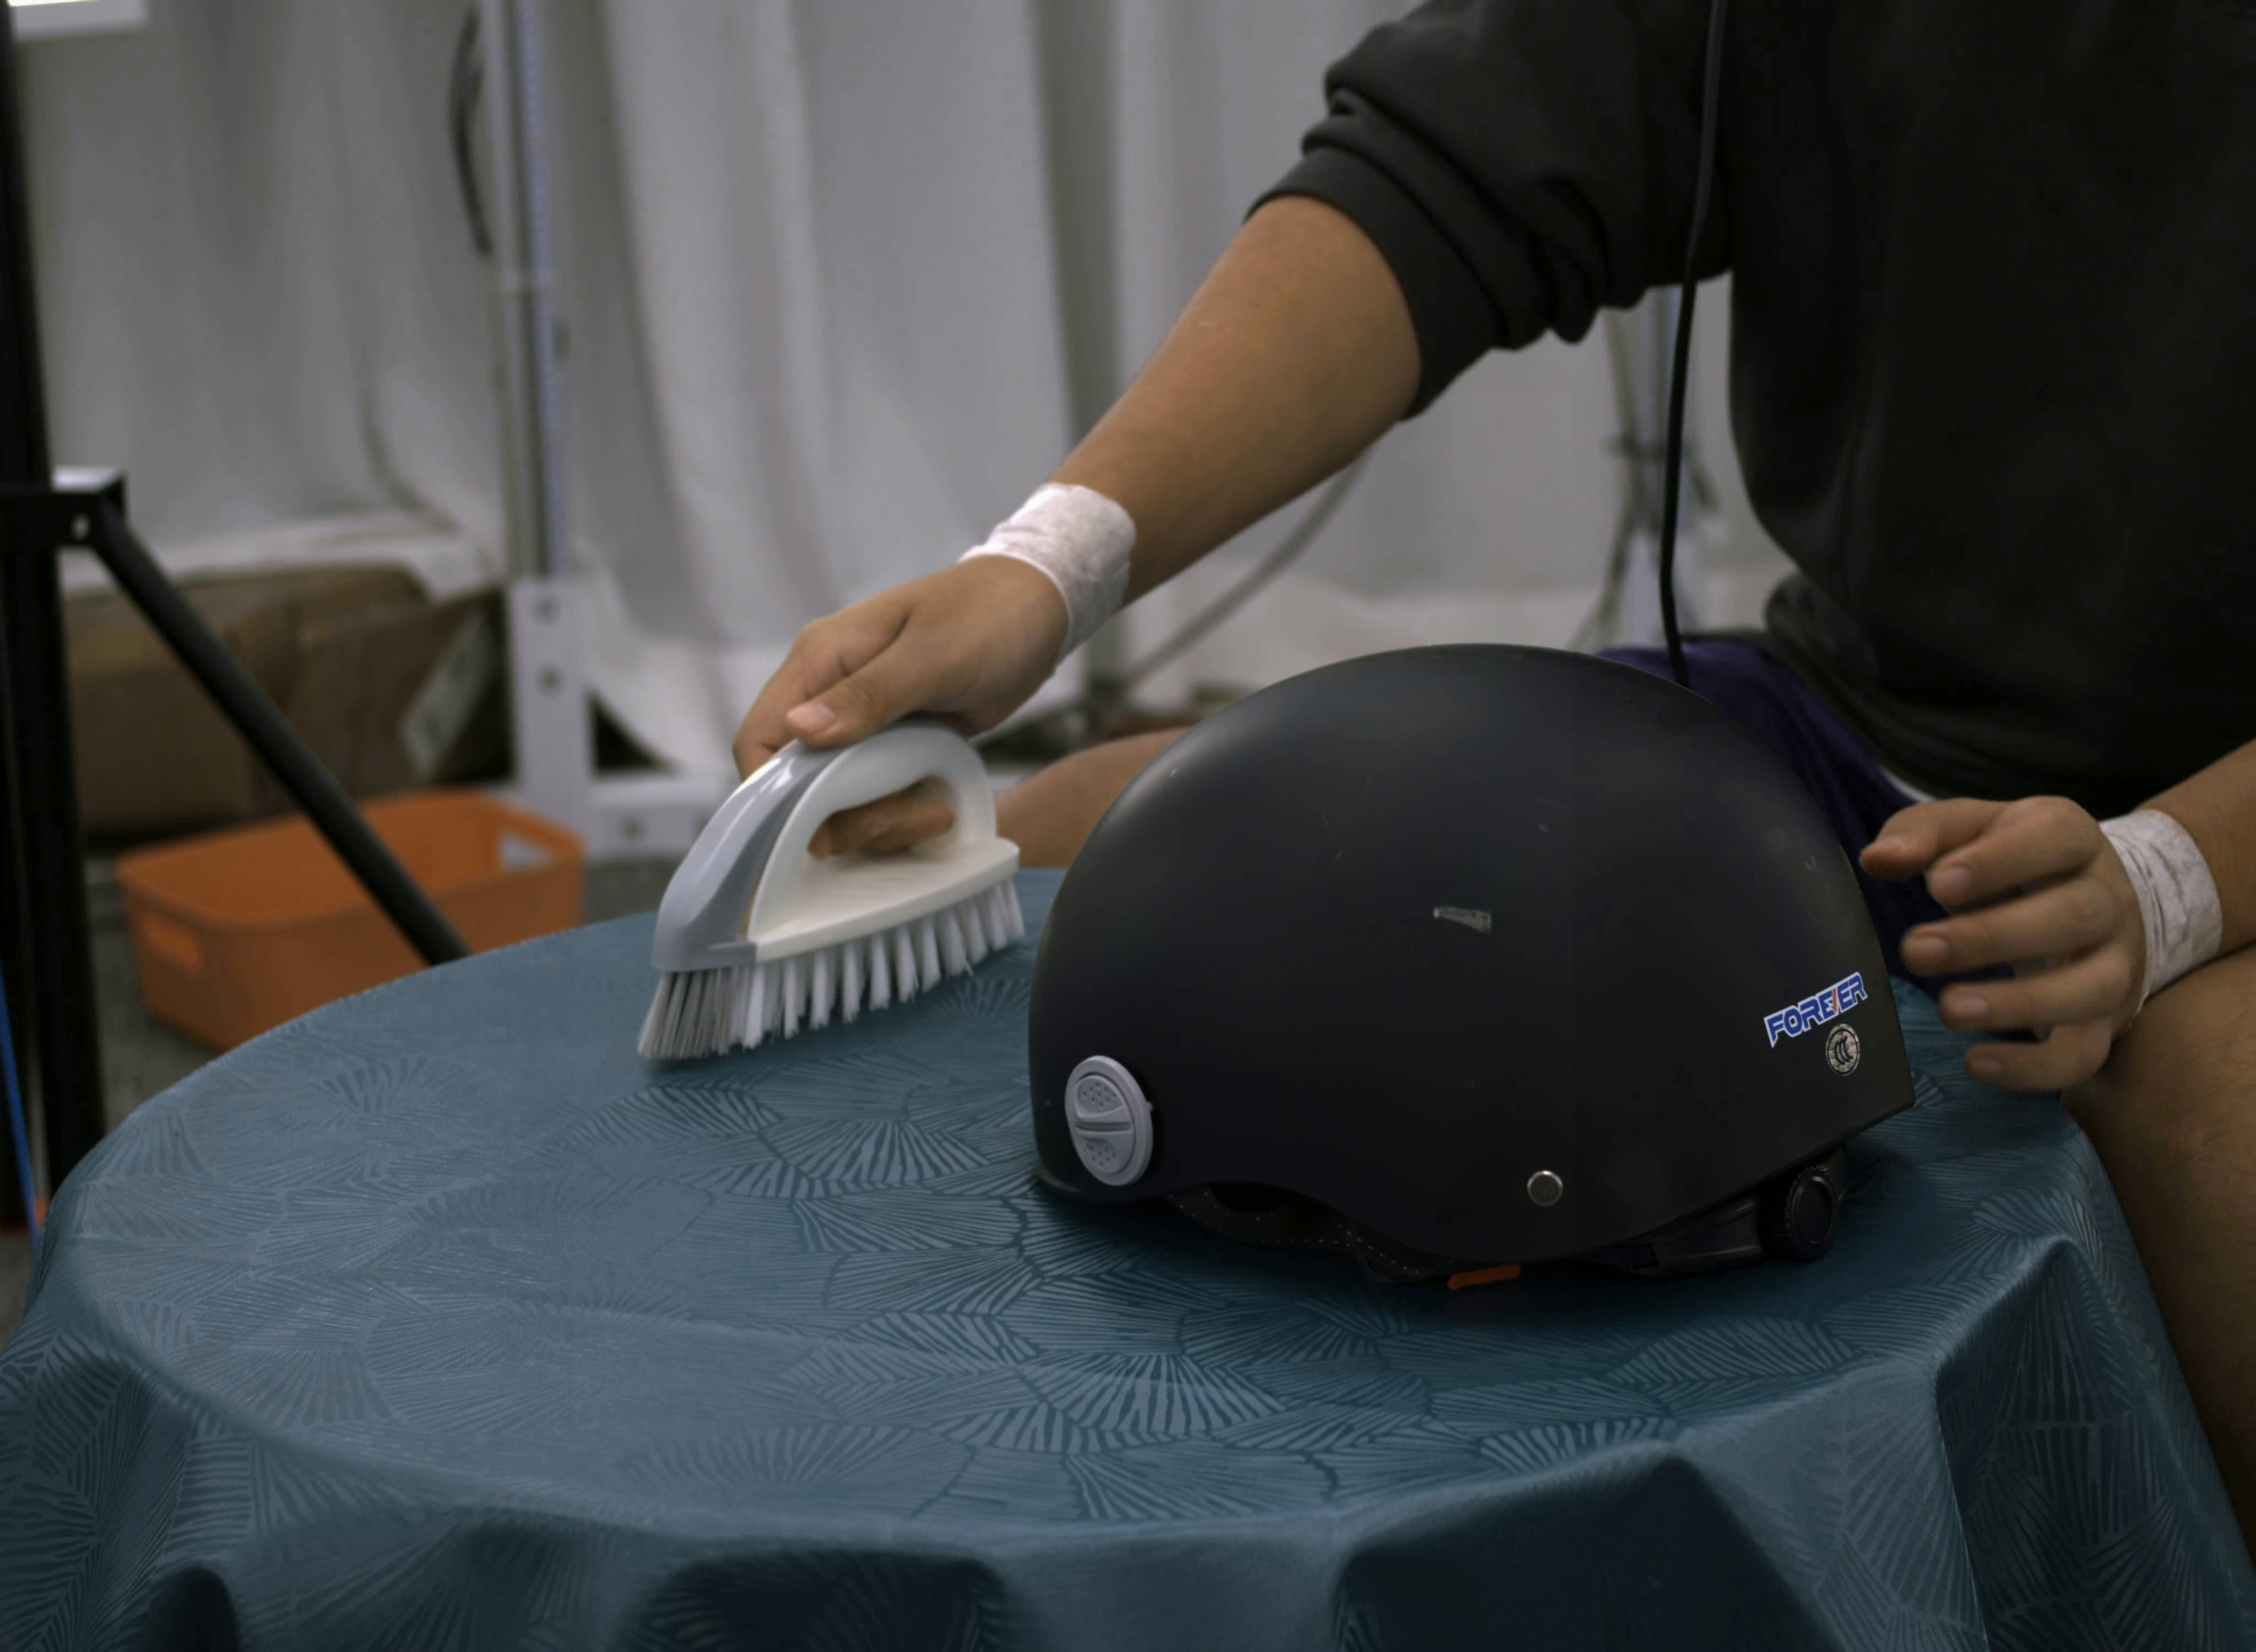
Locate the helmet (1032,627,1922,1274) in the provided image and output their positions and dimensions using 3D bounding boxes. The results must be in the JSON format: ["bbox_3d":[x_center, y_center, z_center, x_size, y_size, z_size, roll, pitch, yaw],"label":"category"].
[{"bbox_3d":[0.094,0.027,1.540,0.279,0.167,0.225,10,19,43],"label":"helmet"}]

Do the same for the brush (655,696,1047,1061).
[{"bbox_3d":[-0.098,0.013,1.743,0.063,0.094,0.172,11,23,37],"label":"brush"}]
